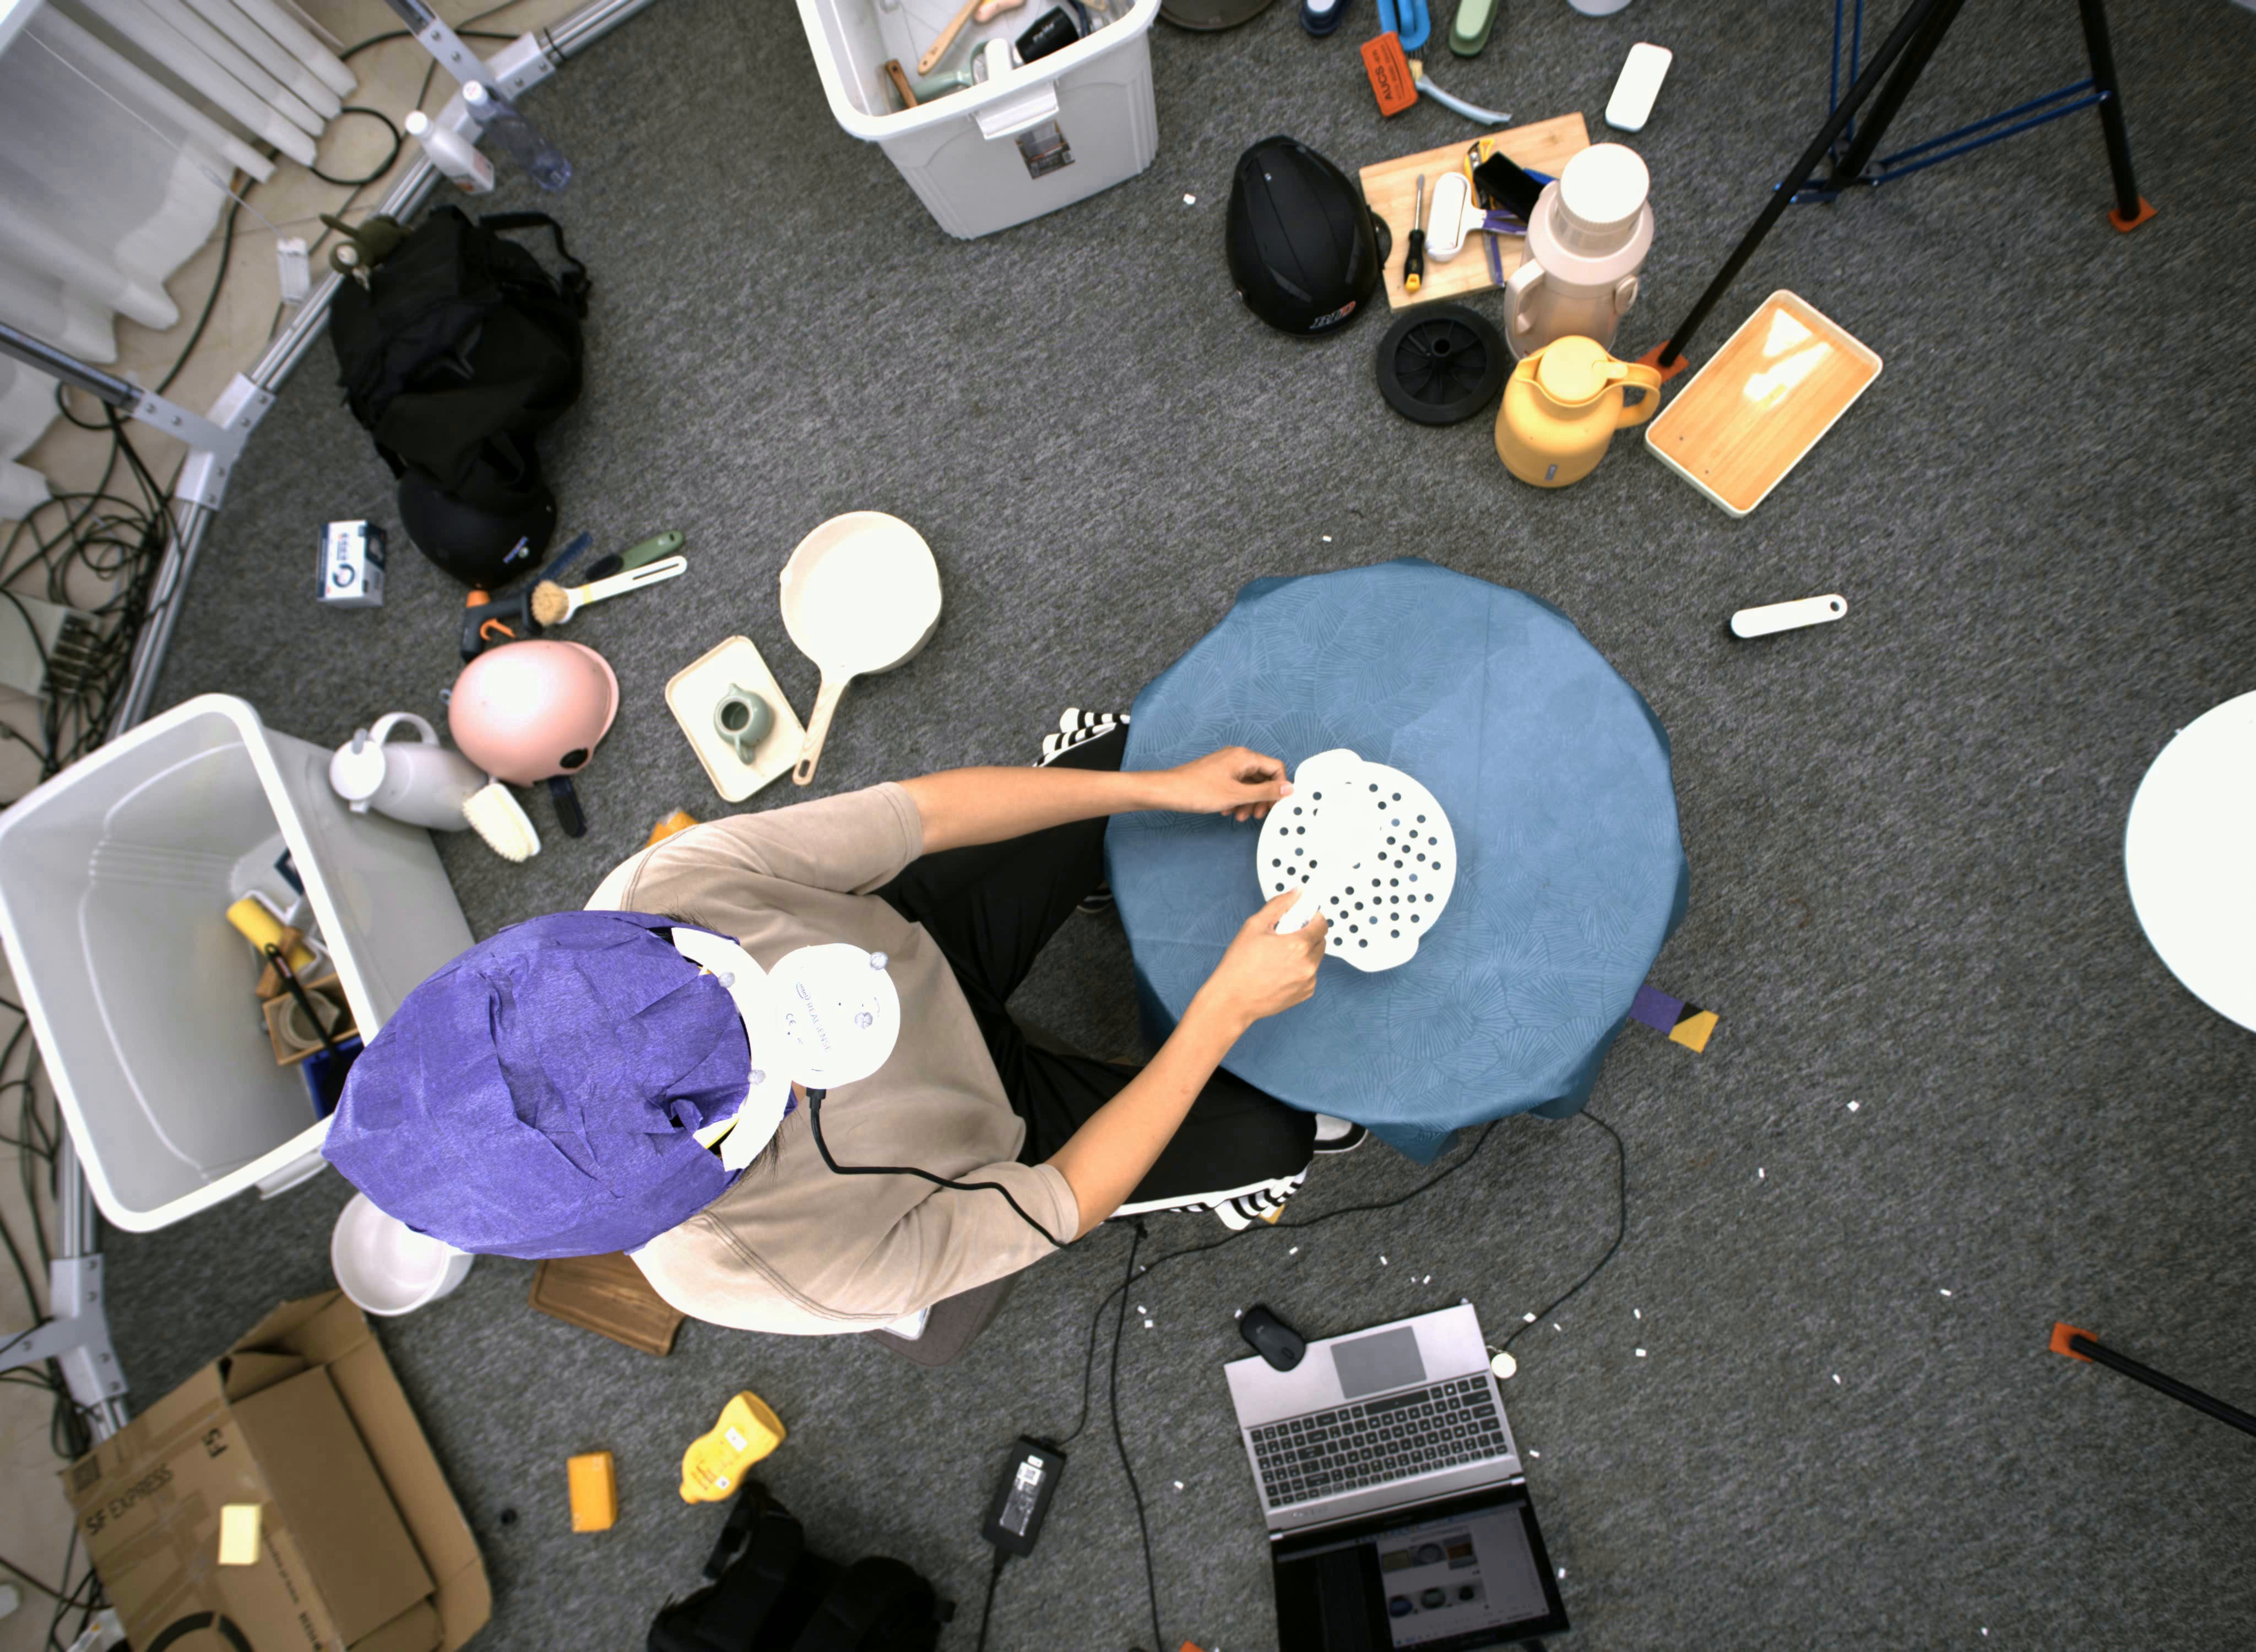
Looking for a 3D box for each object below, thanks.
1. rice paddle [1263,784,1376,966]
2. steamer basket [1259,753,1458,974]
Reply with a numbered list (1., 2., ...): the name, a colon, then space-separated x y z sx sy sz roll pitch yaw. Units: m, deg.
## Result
1. rice paddle: 0.189 0.043 1.355 0.069 0.030 0.201 34 70 -11
2. steamer basket: 0.239 0.040 1.437 0.203 0.069 0.228 -17 81 9
